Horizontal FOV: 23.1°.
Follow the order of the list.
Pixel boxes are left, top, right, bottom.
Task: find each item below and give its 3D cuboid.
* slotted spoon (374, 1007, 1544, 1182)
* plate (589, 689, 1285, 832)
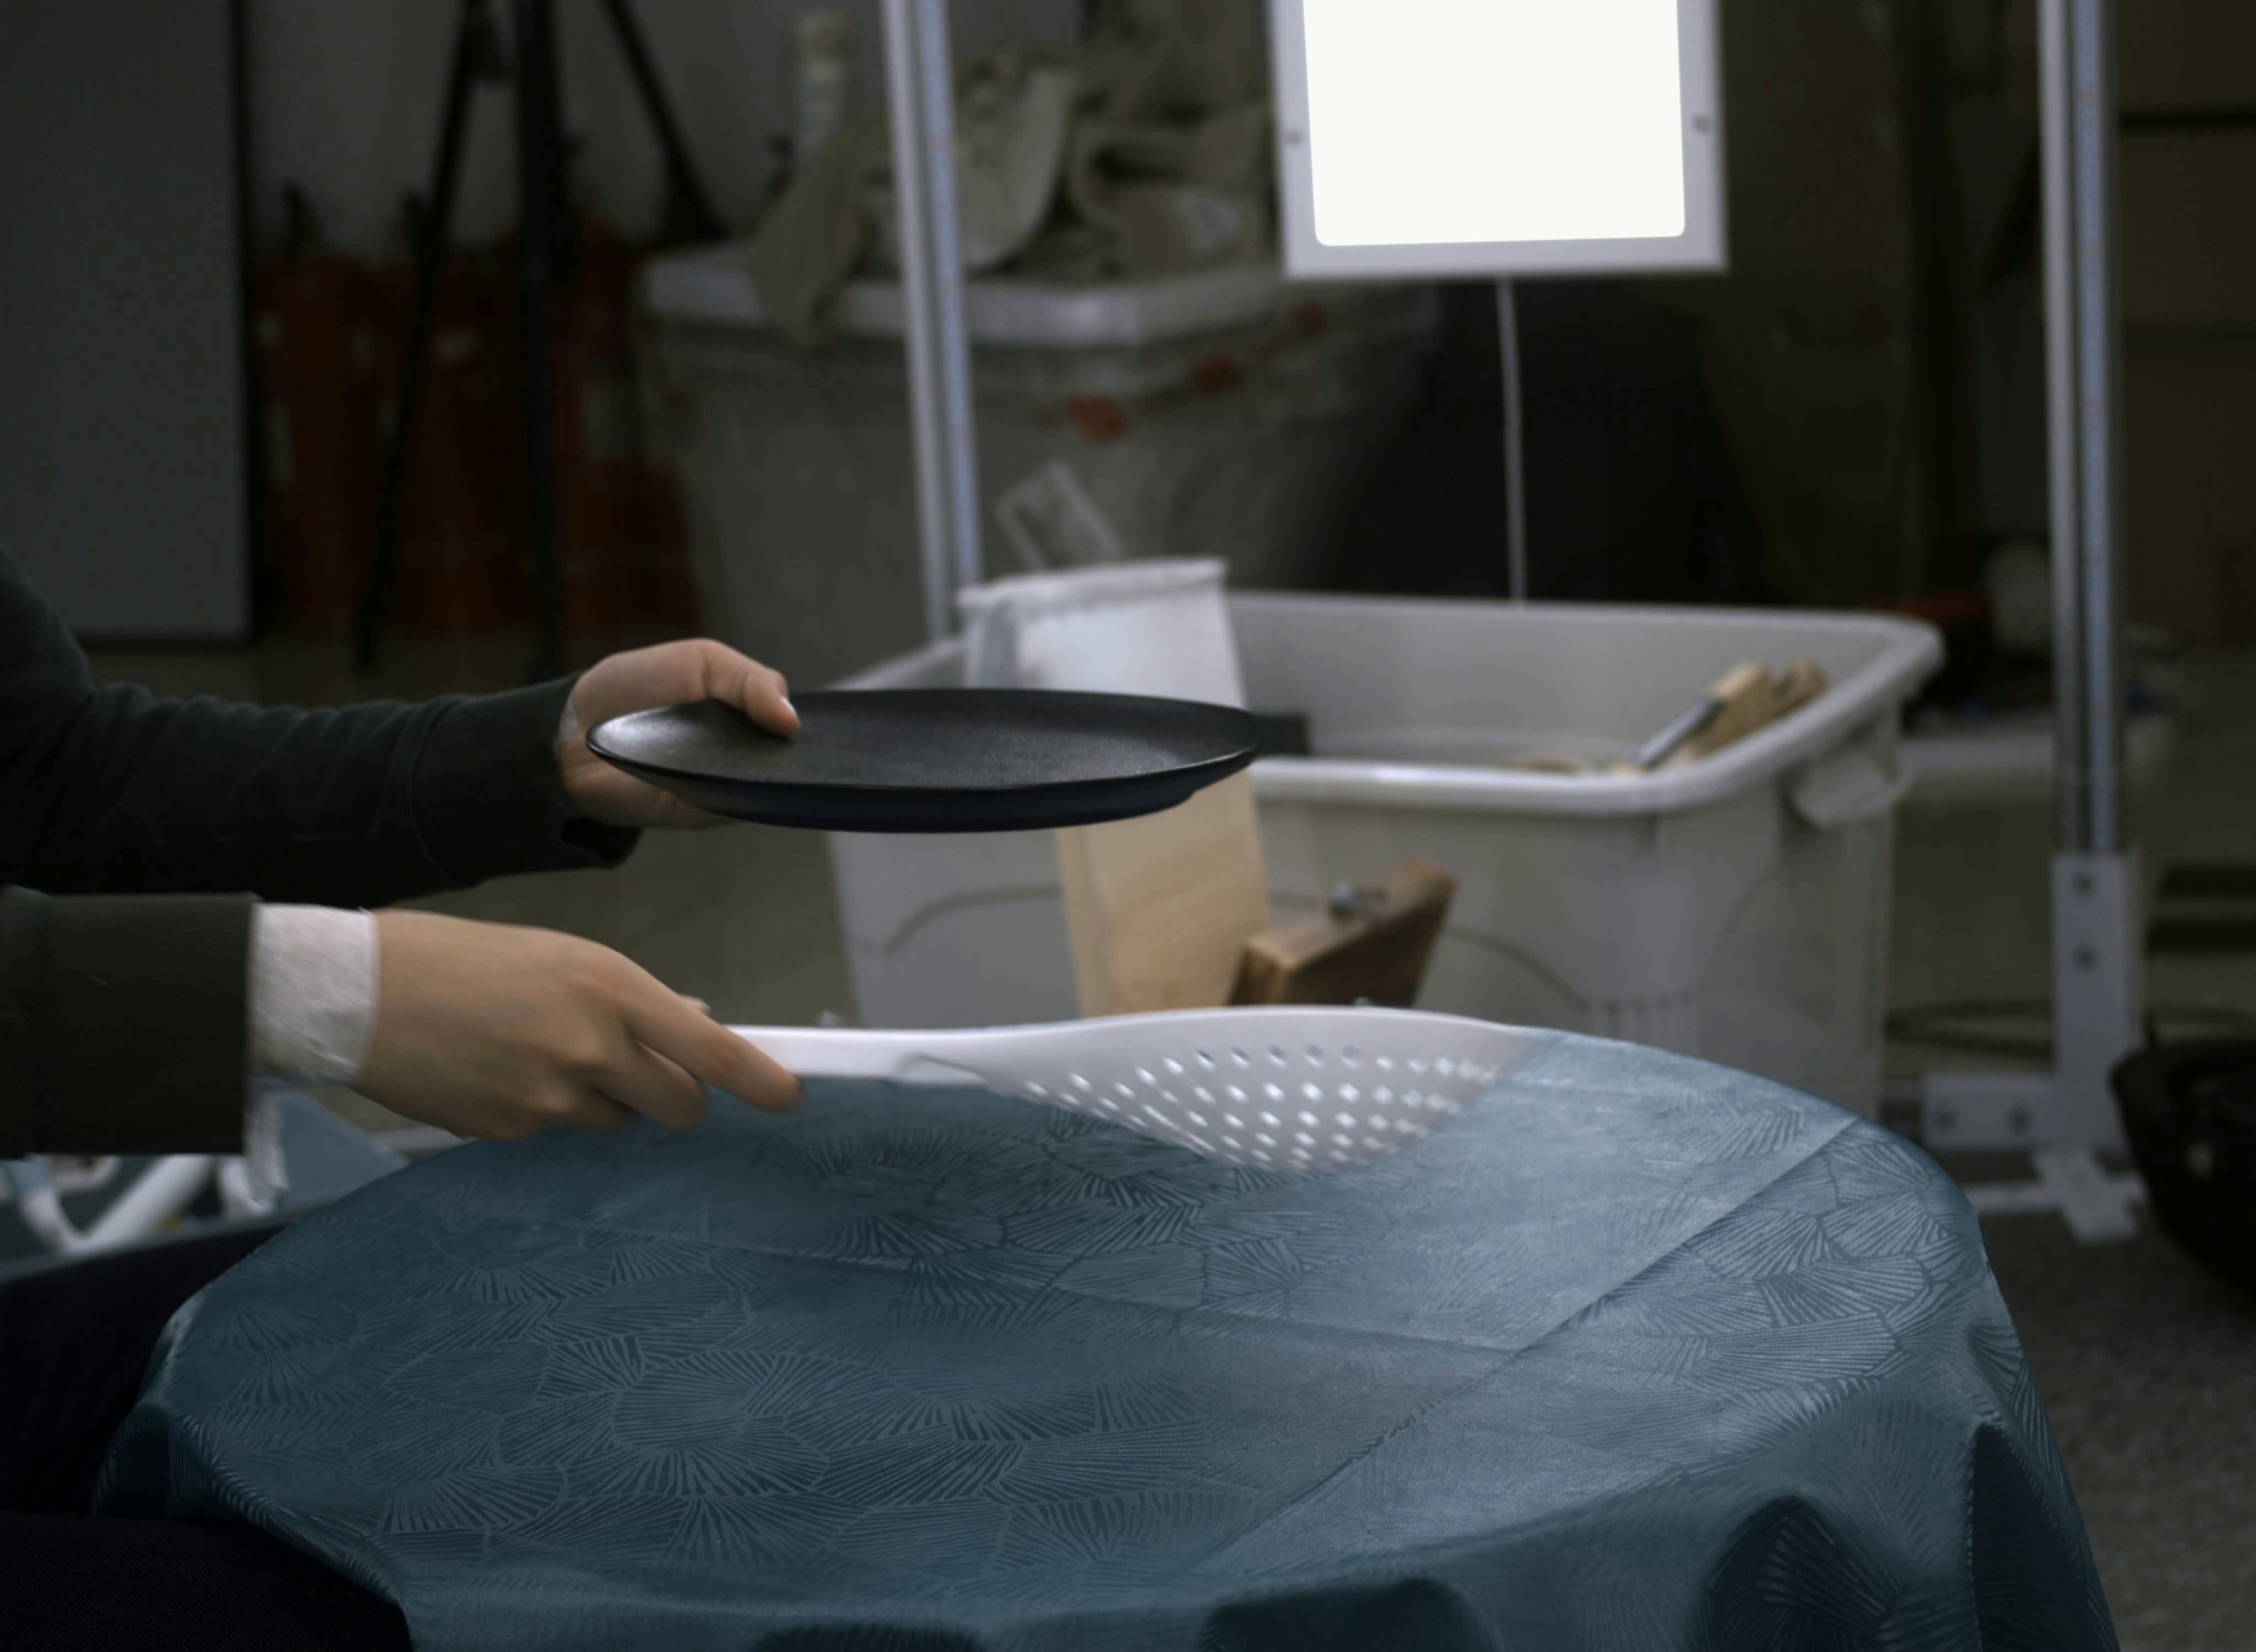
[{"bbox_3d":[-0.050,0.072,1.651,0.349,0.046,0.136,6,-12,0],"label":"slotted spoon"},{"bbox_3d":[-0.066,-0.022,1.915,0.243,0.023,0.244,-1,9,-1],"label":"plate"}]
